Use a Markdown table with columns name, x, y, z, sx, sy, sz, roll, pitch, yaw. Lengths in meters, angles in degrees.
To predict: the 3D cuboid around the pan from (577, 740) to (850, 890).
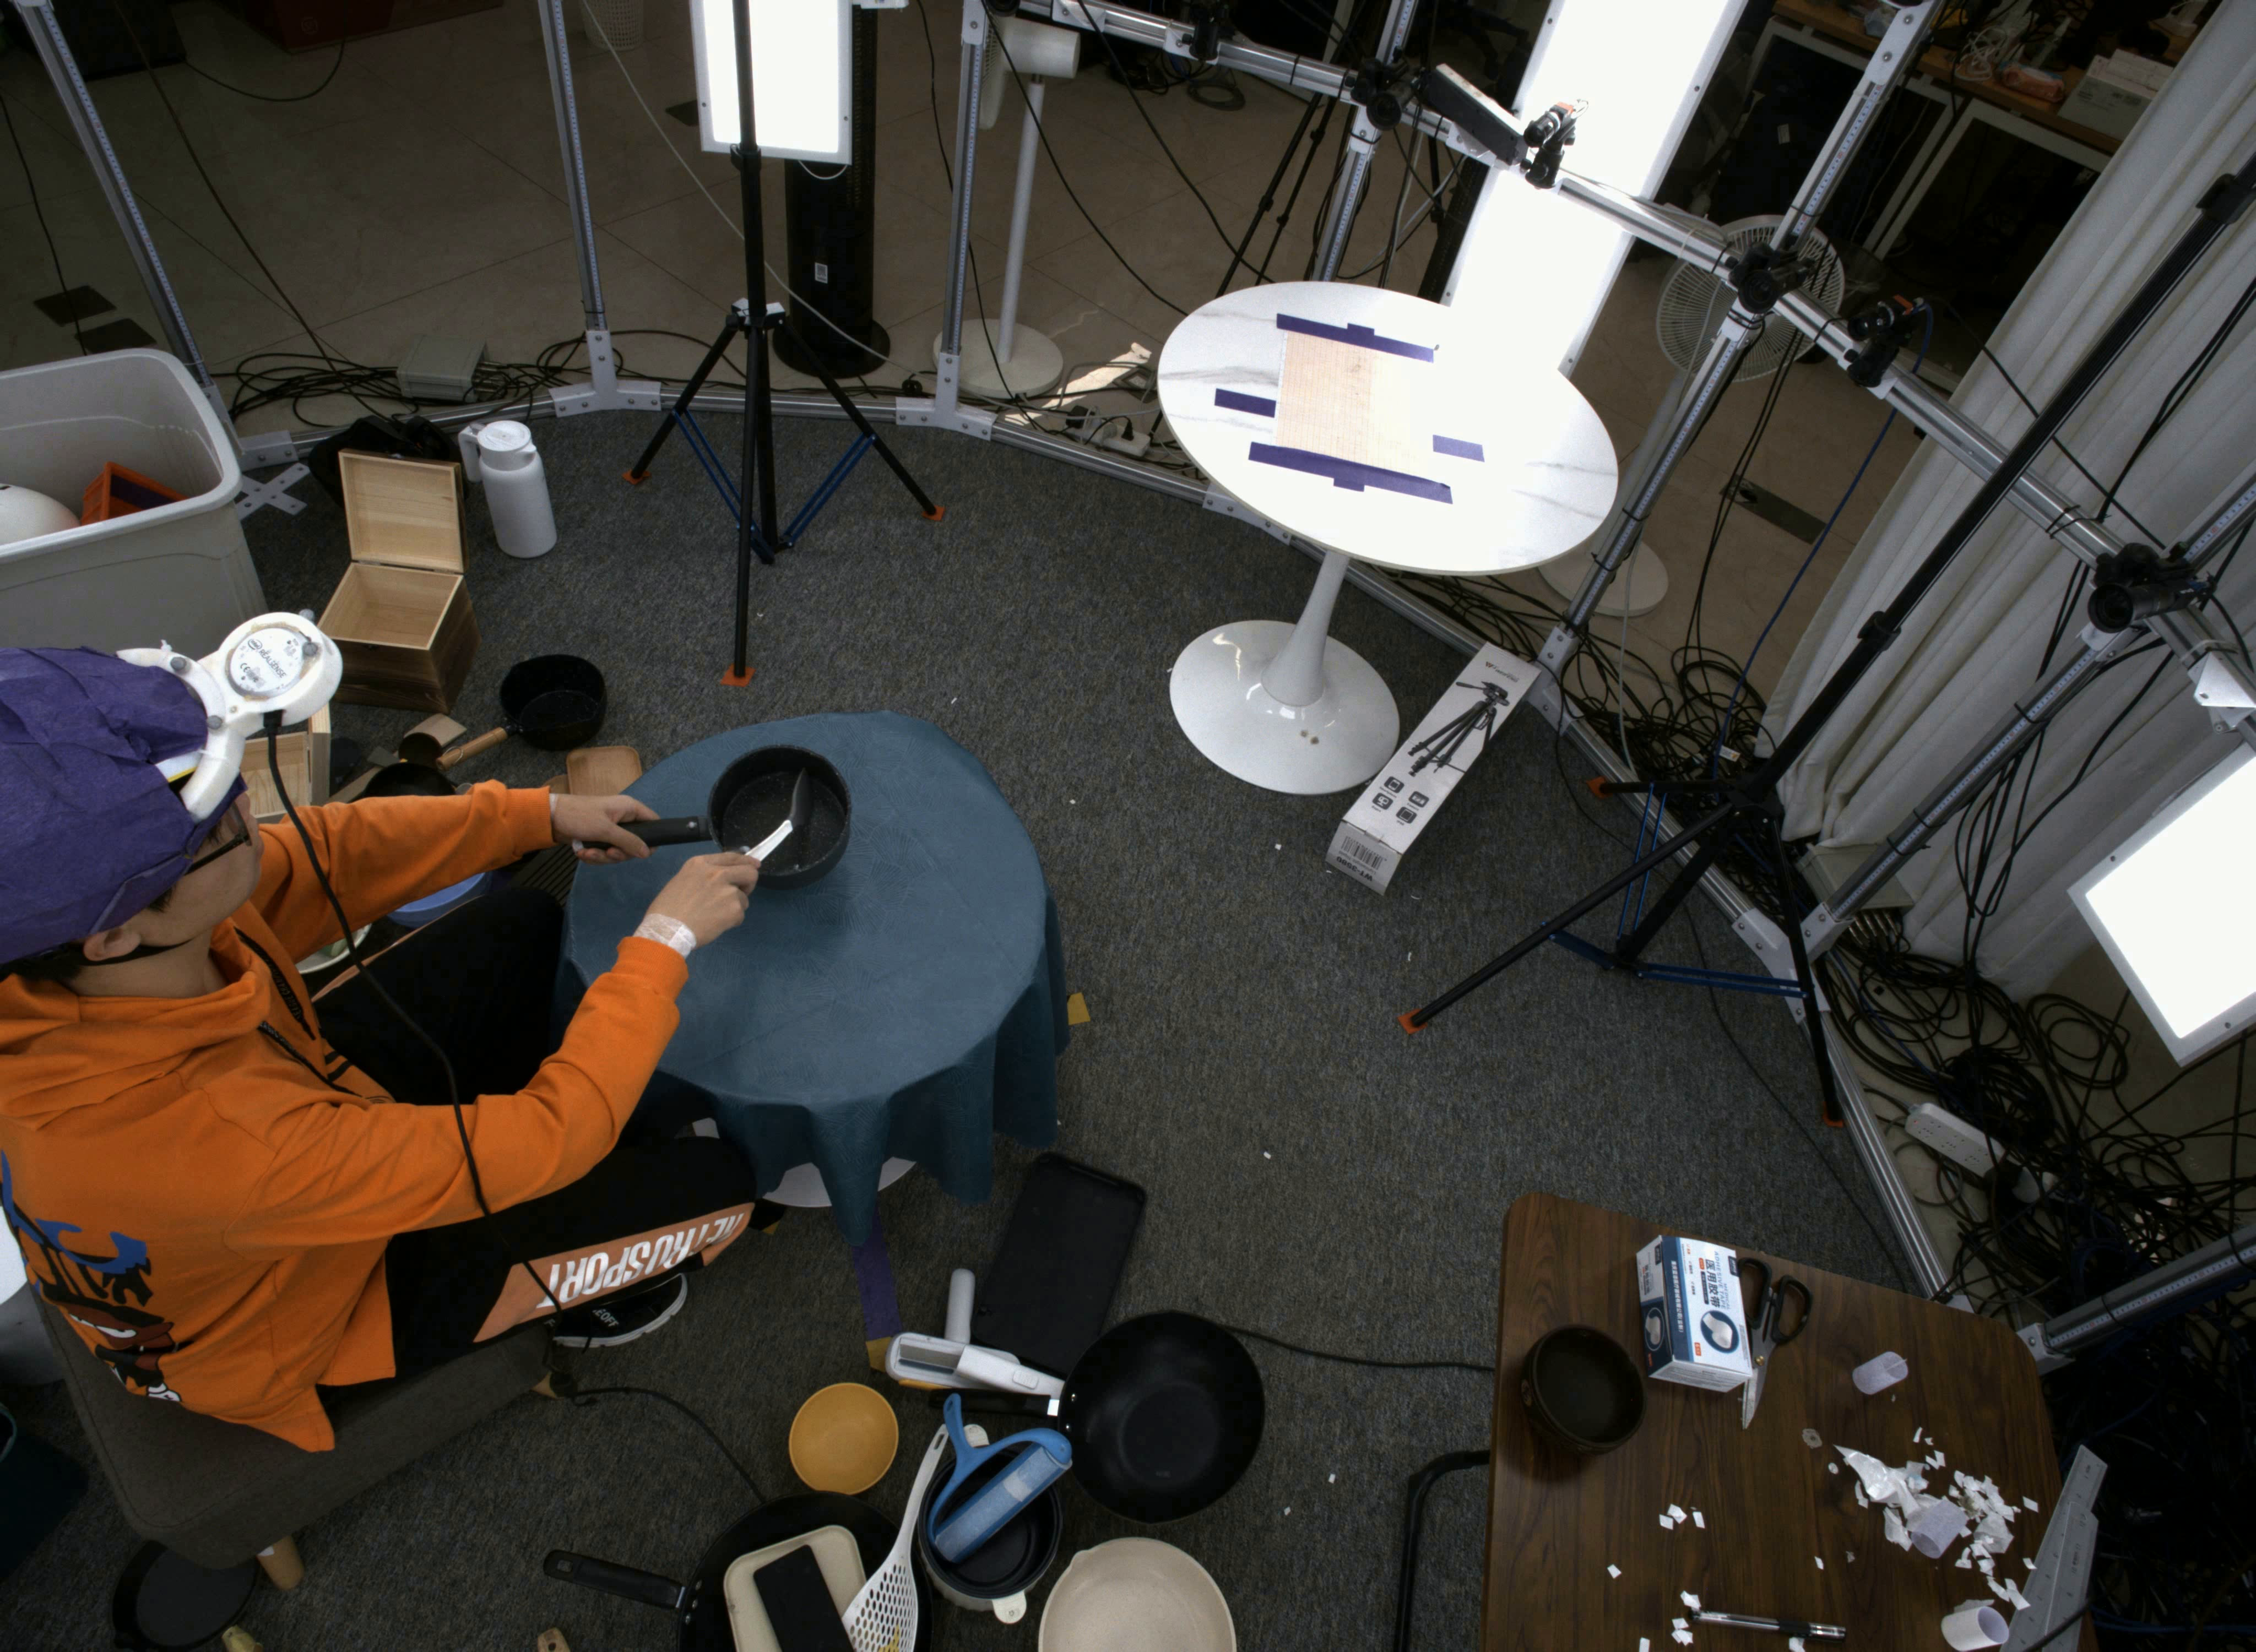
| name | x | y | z | sx | sy | sz | roll | pitch | yaw |
| --- | --- | --- | --- | --- | --- | --- | --- | --- | --- |
| pan | -0.502 | -0.001 | 1.566 | 0.329 | 0.087 | 0.170 | -7 | 71 | -16 |

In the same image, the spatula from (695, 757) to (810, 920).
| name | x | y | z | sx | sy | sz | roll | pitch | yaw |
| --- | --- | --- | --- | --- | --- | --- | --- | --- | --- |
| spatula | -0.426 | 0.011 | 1.515 | 0.031 | 0.061 | 0.284 | -2 | 32 | 15 |
